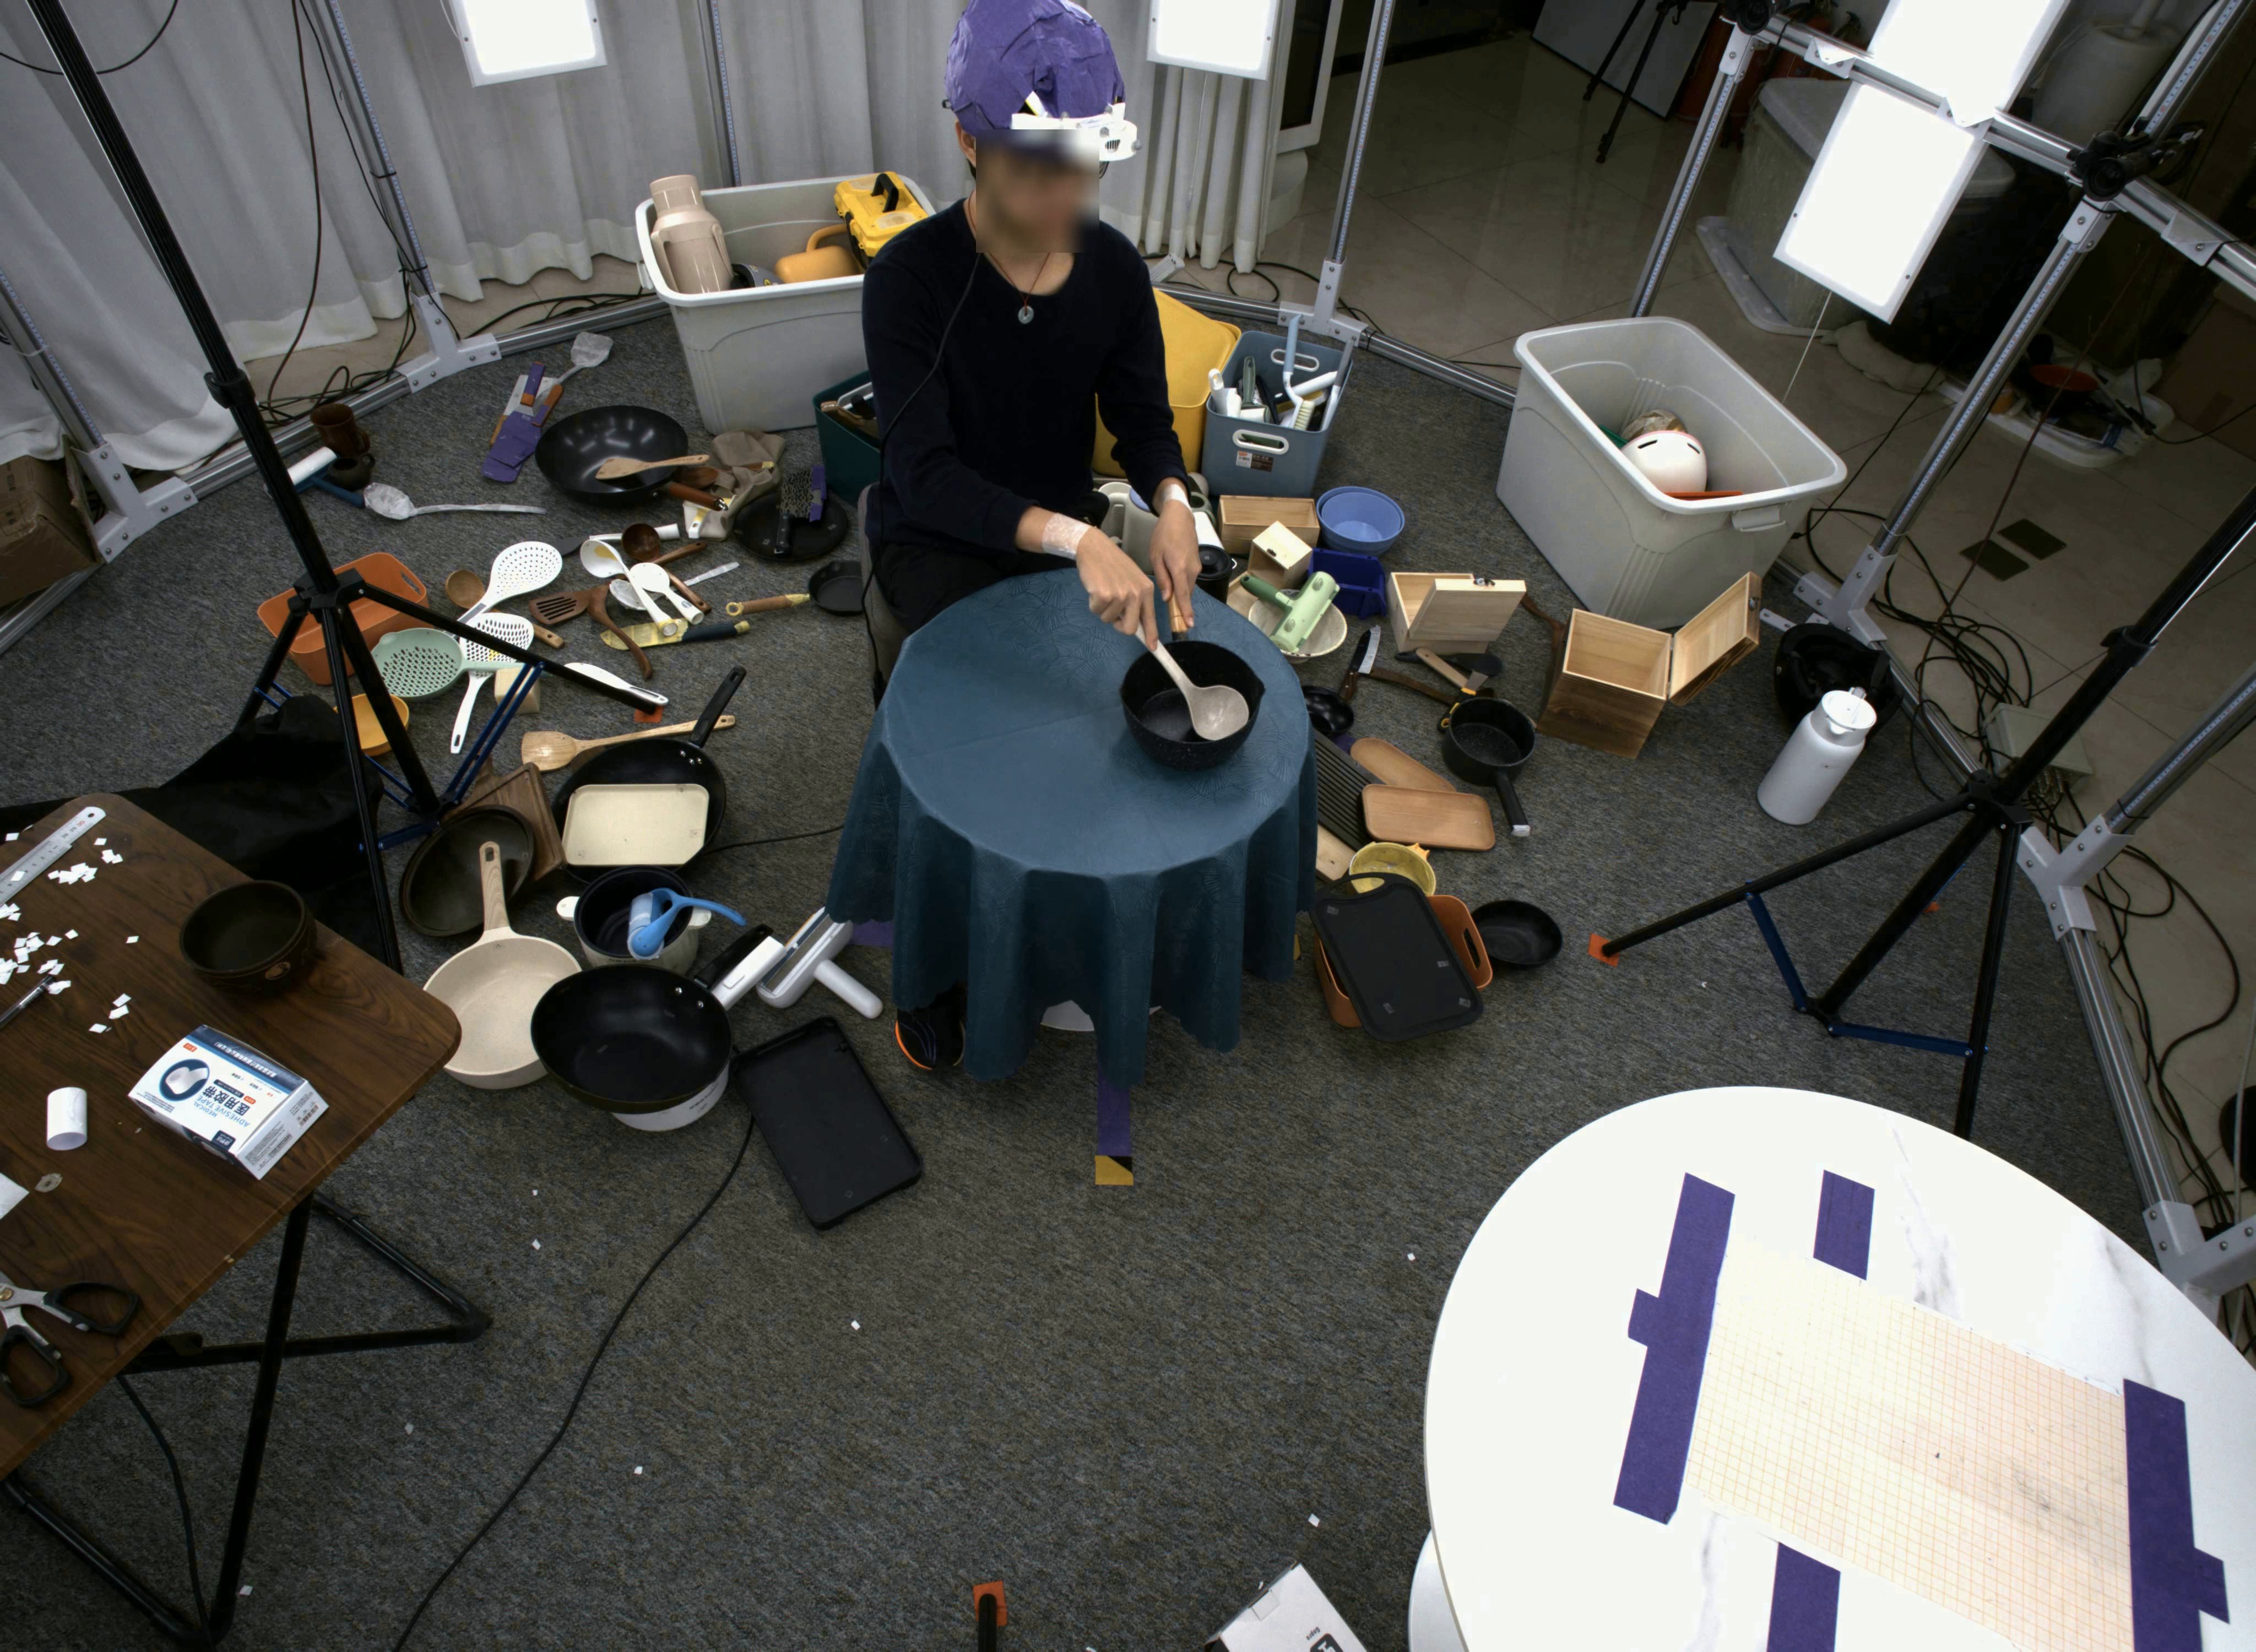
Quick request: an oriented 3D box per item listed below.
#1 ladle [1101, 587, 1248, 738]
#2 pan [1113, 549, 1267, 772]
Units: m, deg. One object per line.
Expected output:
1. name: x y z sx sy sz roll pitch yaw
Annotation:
1. ladle: 0.064 -0.219 1.701 0.070 0.269 0.090 8 59 48
2. pan: 0.075 -0.230 1.790 0.207 0.106 0.351 -5 55 -4
